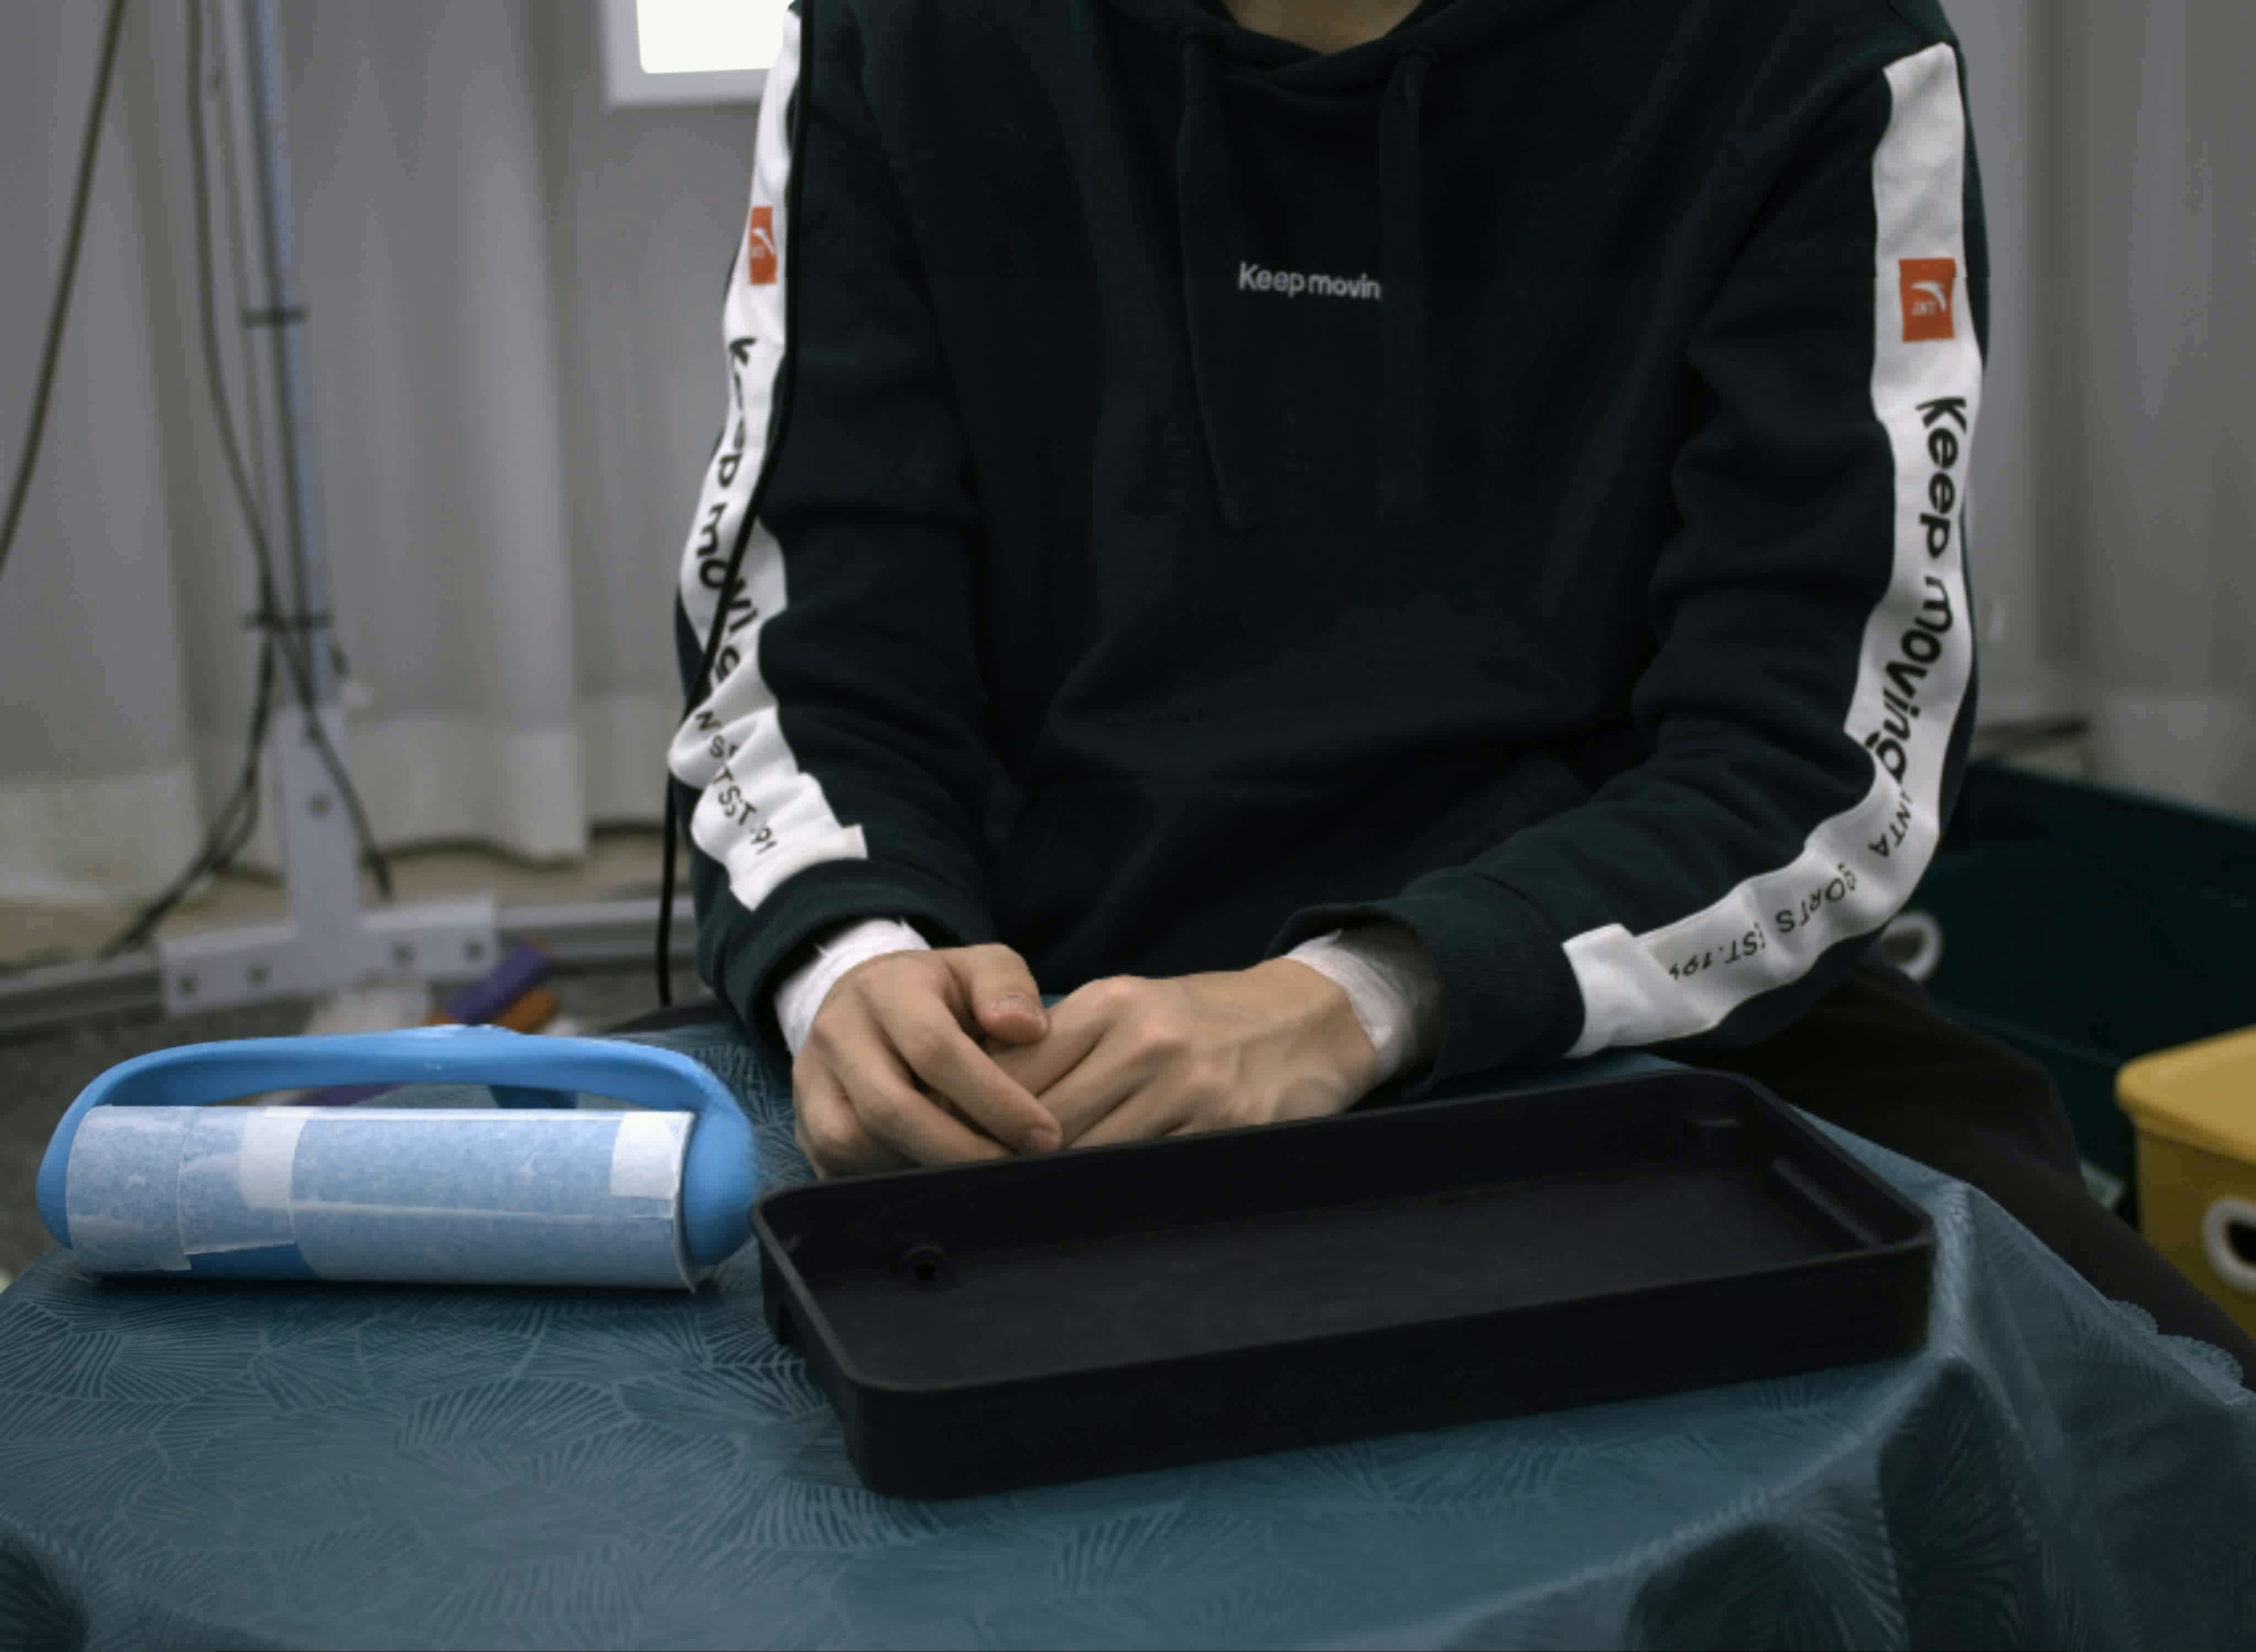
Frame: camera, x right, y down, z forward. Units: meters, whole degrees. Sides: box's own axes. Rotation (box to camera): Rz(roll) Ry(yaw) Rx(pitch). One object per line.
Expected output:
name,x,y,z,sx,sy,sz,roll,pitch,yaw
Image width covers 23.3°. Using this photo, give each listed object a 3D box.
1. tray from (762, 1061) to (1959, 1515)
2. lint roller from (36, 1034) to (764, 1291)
tray,0.065,0.129,1.581,0.316,0.037,0.186,-8,15,-14
lint roller,-0.213,0.096,1.718,0.228,0.067,0.181,-2,16,10
